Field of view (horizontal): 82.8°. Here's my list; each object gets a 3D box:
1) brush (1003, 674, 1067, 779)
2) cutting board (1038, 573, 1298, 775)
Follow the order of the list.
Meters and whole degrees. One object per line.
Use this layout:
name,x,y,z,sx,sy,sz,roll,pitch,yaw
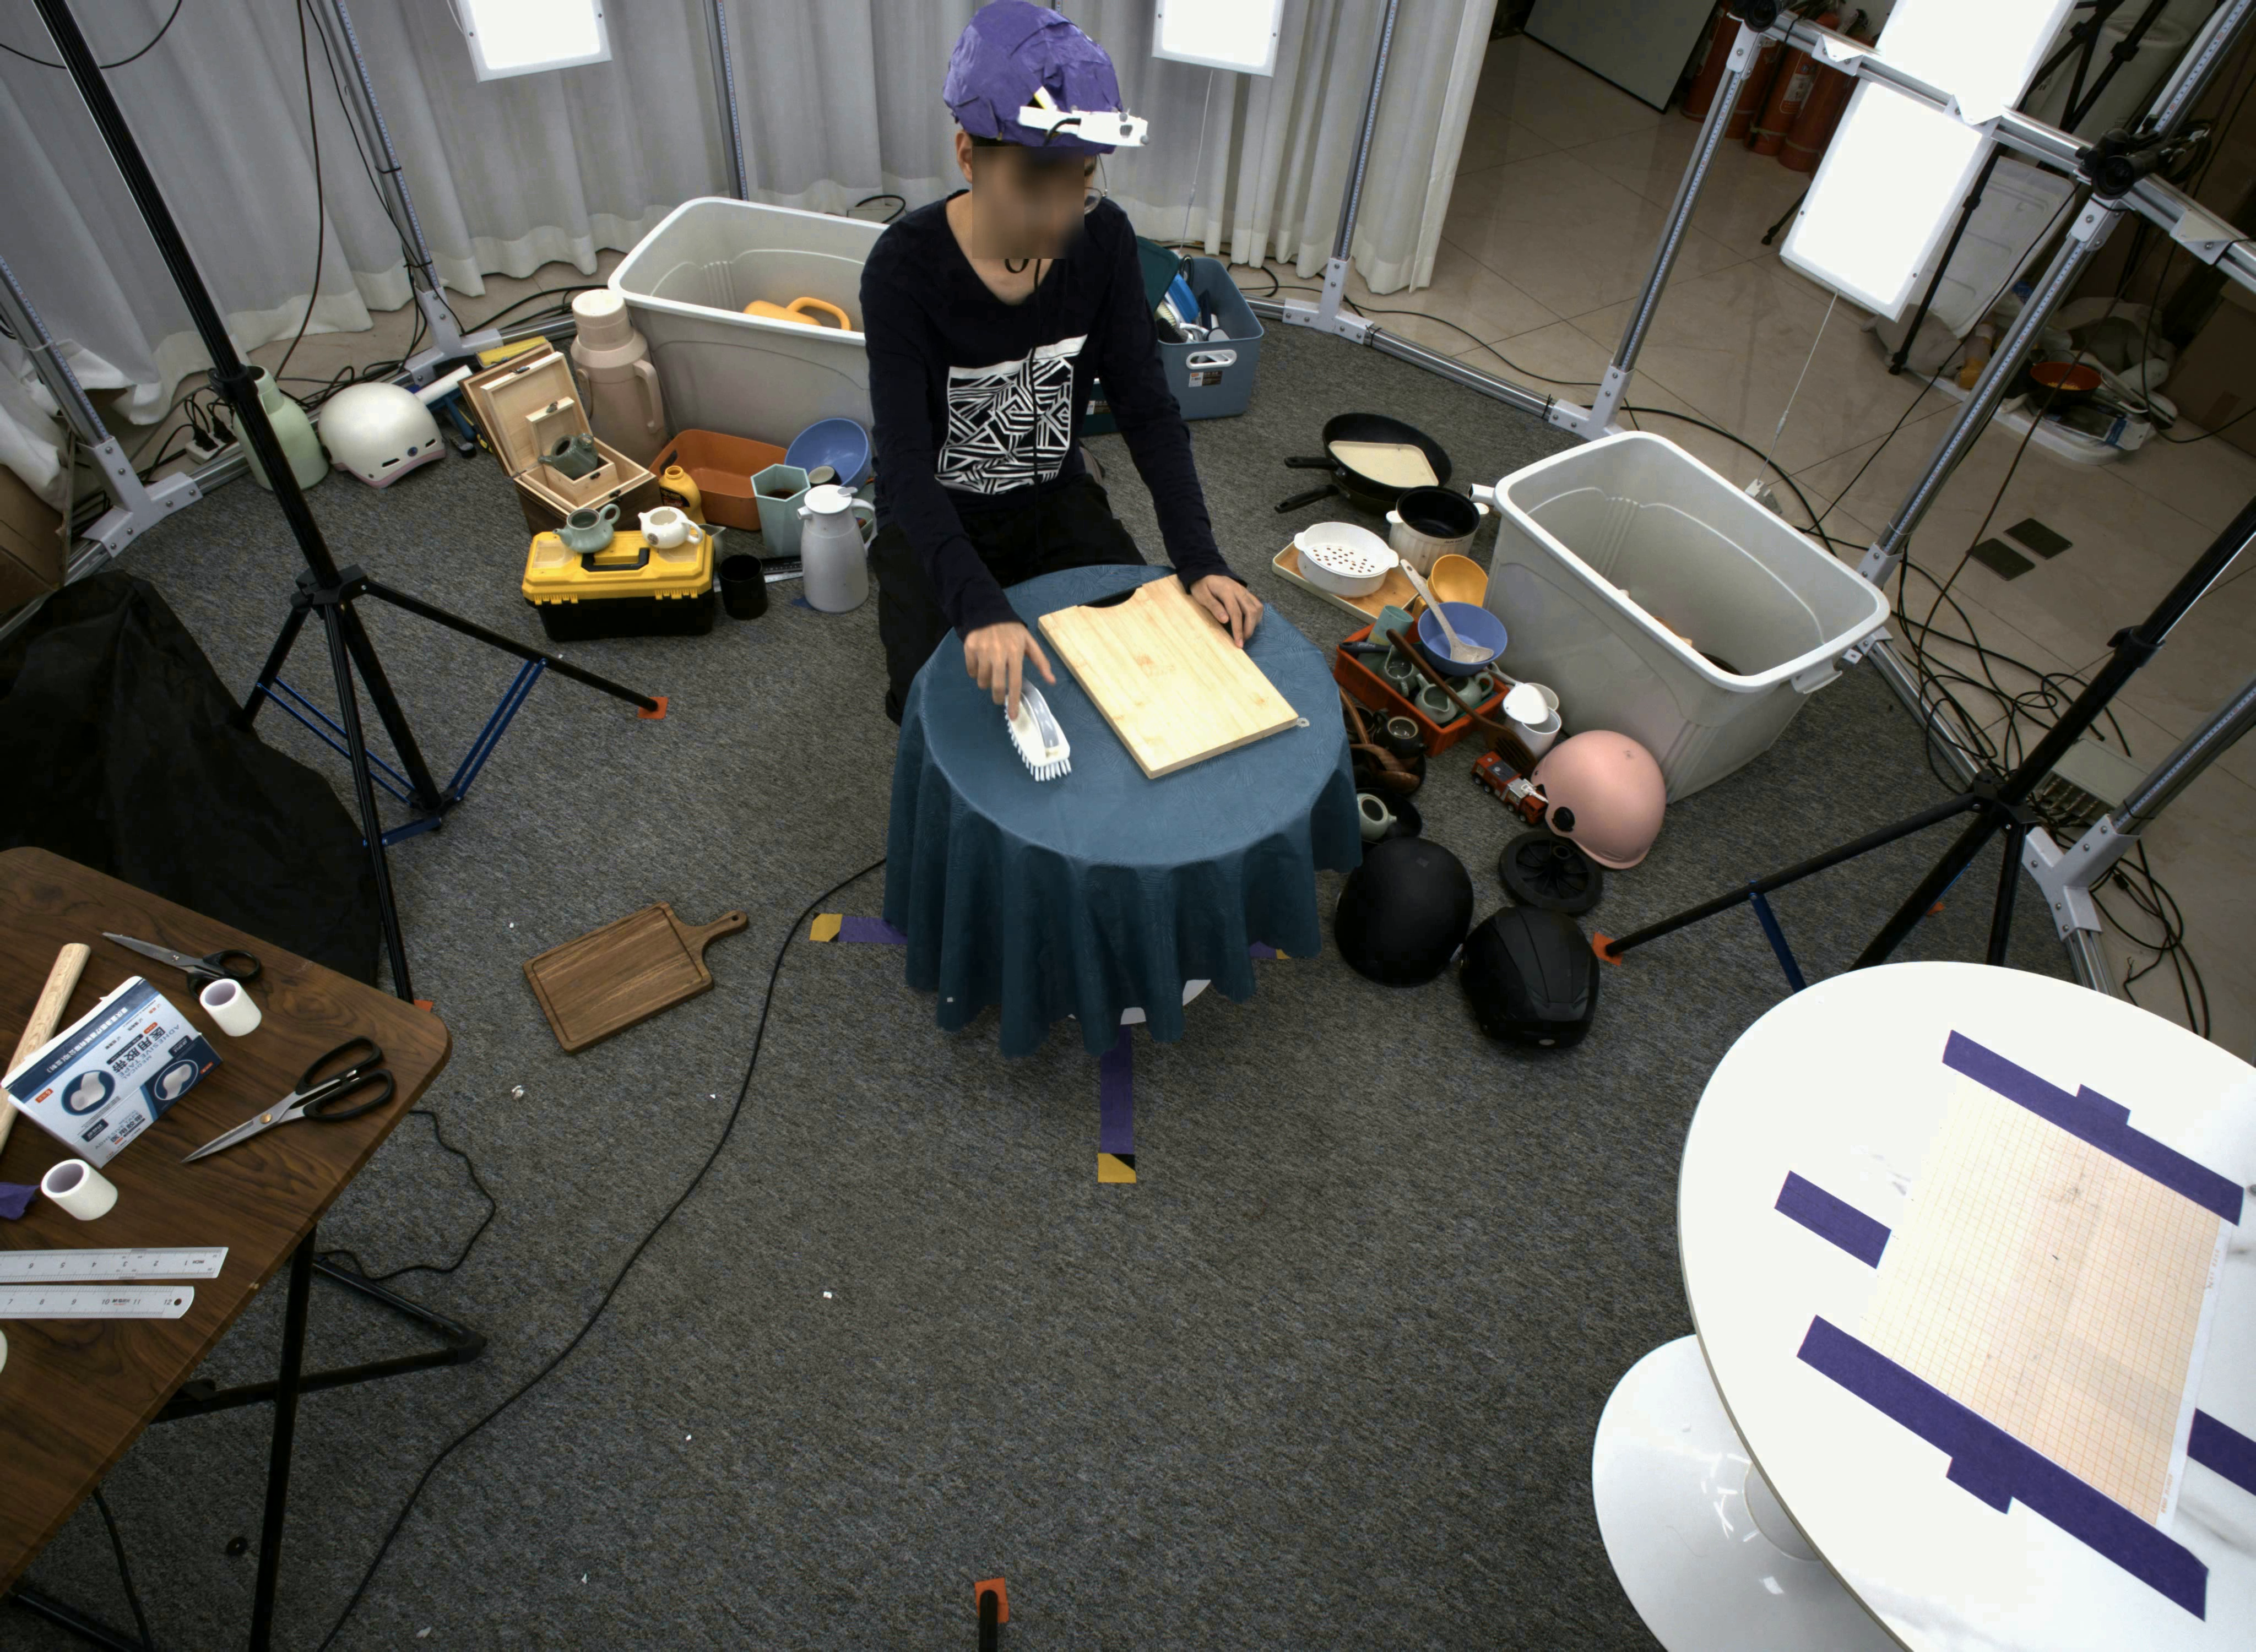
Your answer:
brush,-0.134,-0.152,1.731,0.061,0.092,0.179,-15,49,-18
cutting board,0.052,-0.228,1.859,0.251,0.023,0.356,-21,53,-21
